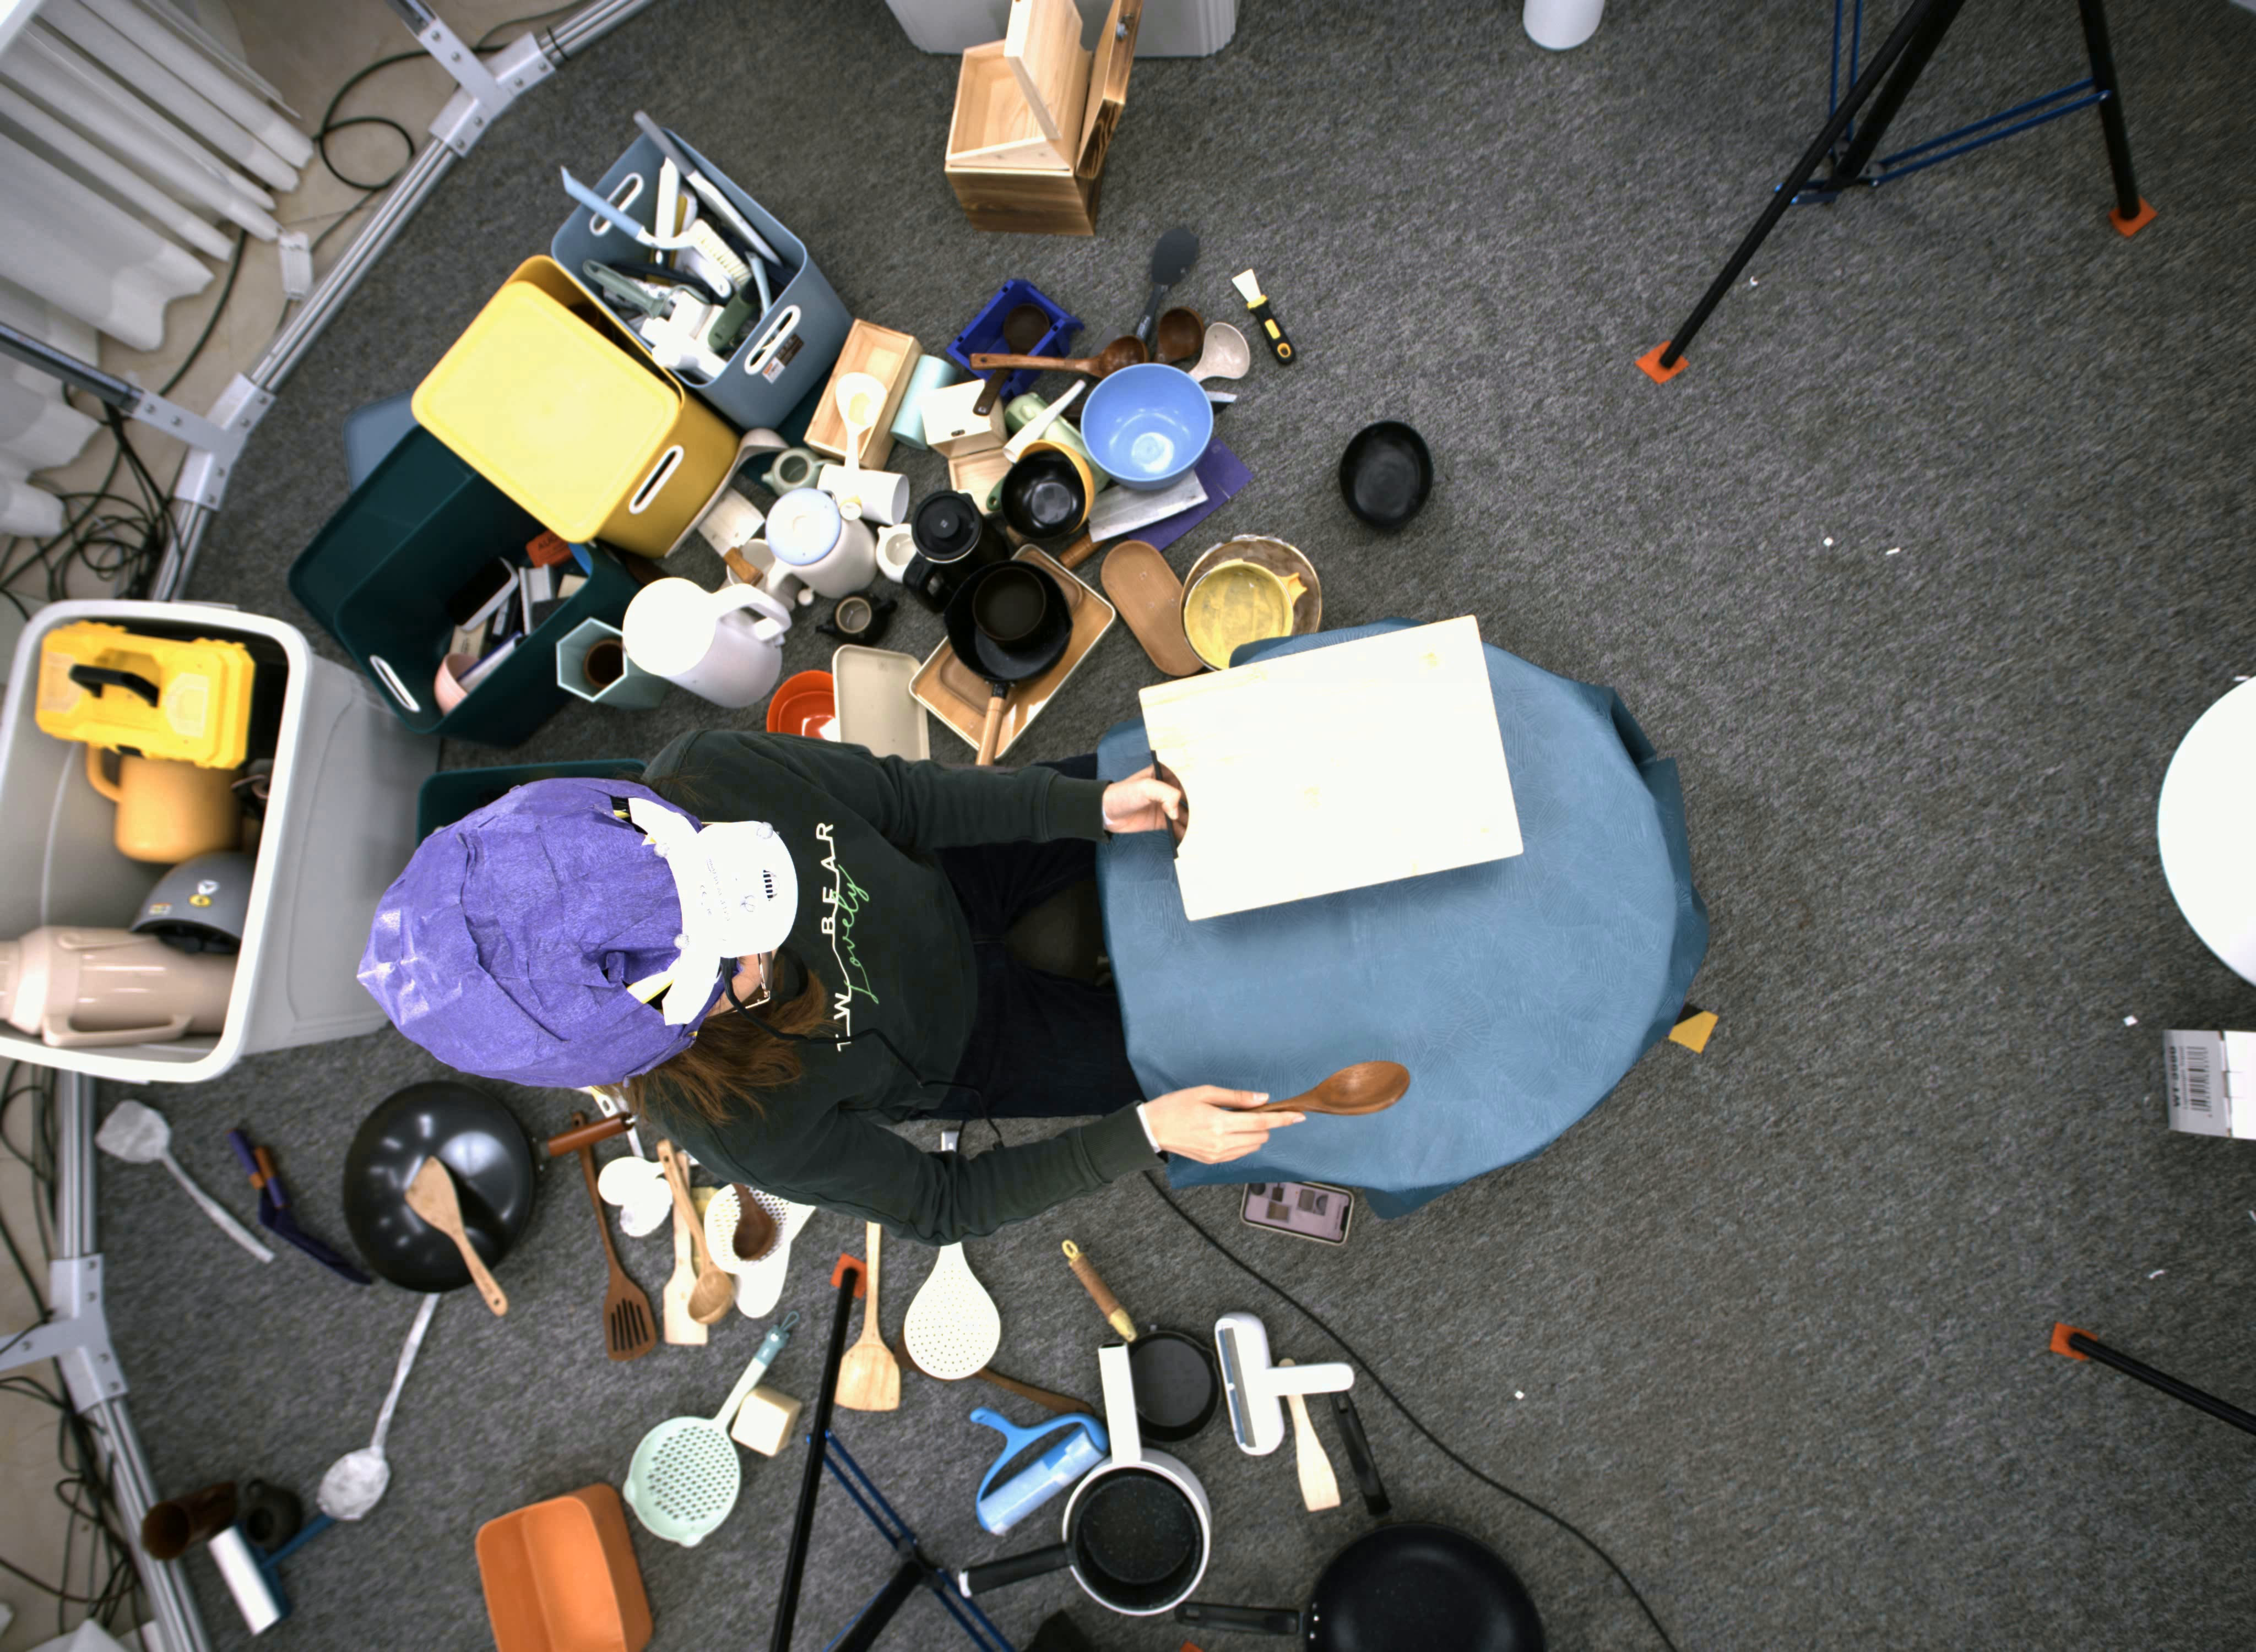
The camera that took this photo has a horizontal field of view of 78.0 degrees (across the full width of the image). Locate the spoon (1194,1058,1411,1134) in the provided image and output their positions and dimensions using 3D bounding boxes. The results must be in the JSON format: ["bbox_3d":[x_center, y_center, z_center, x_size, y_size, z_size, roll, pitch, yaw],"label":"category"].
[{"bbox_3d":[0.168,0.266,1.340,0.217,0.074,0.017,-15,114,13],"label":"spoon"}]

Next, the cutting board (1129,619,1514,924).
[{"bbox_3d":[0.196,-0.053,1.381,0.350,0.023,0.251,-13,93,8],"label":"cutting board"}]
